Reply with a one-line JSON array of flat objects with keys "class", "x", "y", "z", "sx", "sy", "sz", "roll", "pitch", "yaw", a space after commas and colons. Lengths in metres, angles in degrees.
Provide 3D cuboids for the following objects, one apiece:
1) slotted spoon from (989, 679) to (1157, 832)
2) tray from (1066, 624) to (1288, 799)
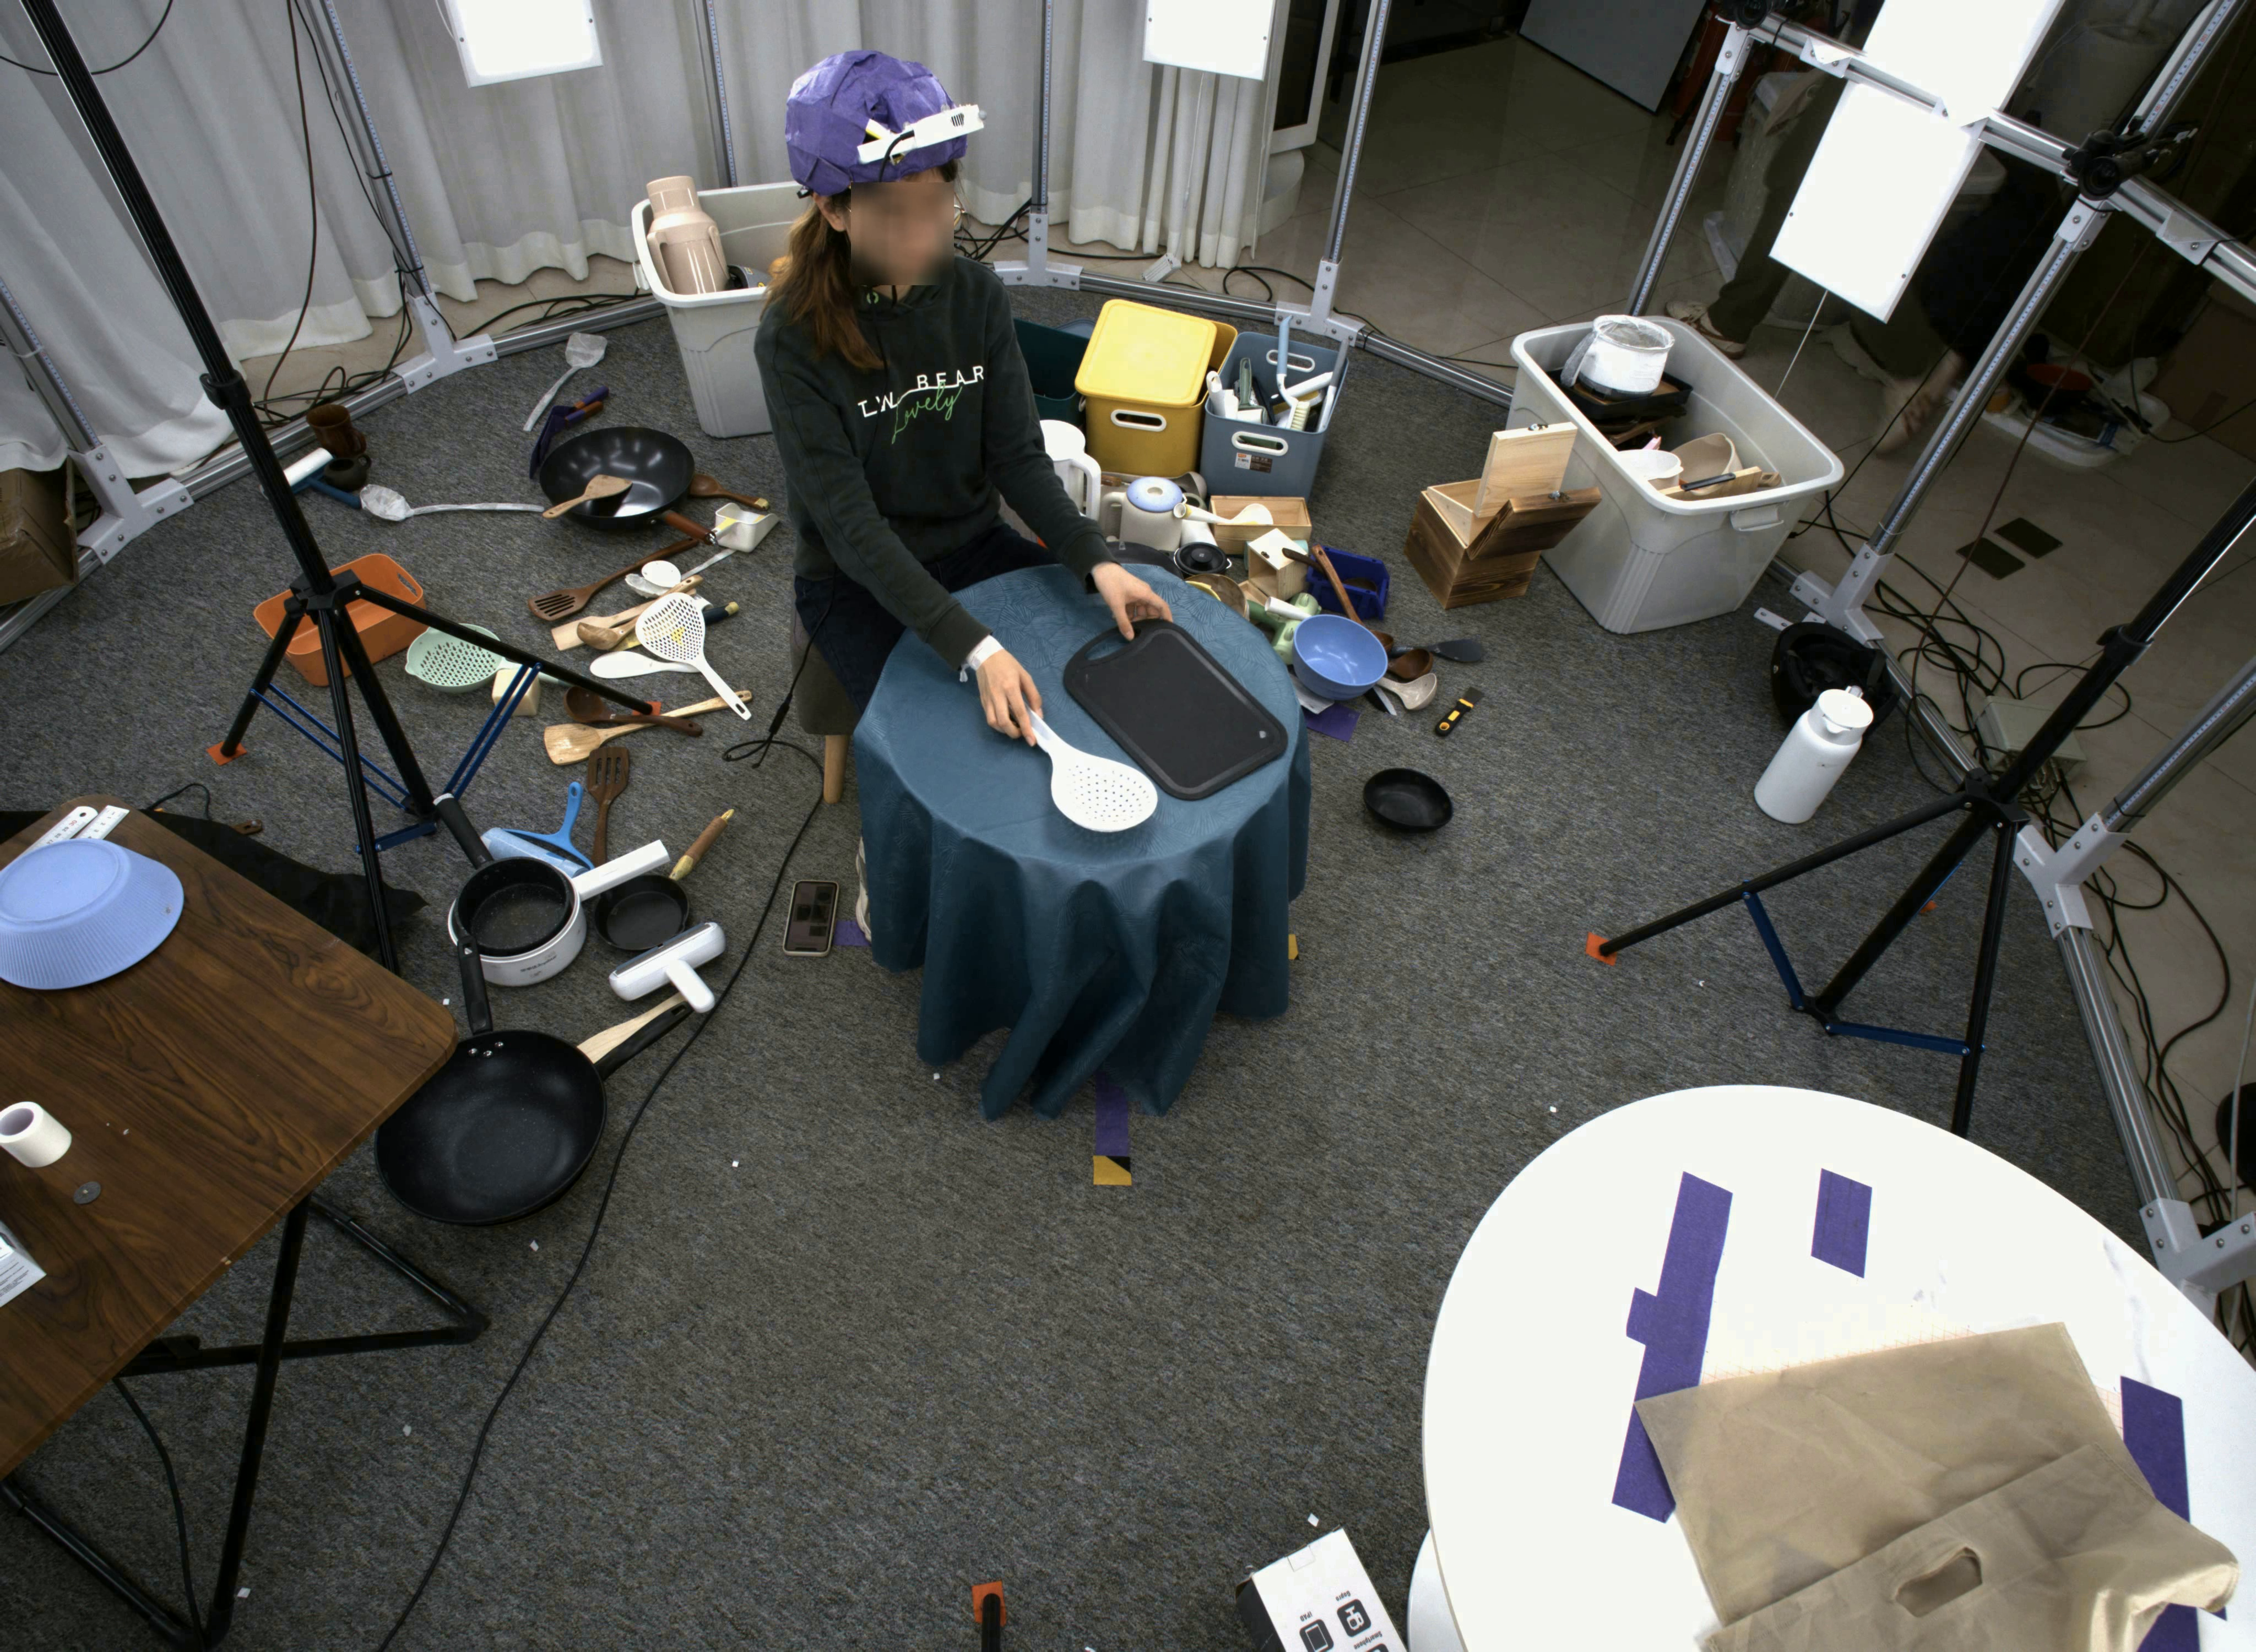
[{"class": "slotted spoon", "x": -0.092, "y": -0.100, "z": 1.735, "sx": 0.136, "sy": 0.045, "sz": 0.357, "roll": -18, "pitch": 51, "yaw": -30}, {"class": "tray", "x": 0.061, "y": -0.175, "z": 1.828, "sx": 0.212, "sy": 0.009, "sz": 0.331, "roll": -29, "pitch": 57, "yaw": -23}]
